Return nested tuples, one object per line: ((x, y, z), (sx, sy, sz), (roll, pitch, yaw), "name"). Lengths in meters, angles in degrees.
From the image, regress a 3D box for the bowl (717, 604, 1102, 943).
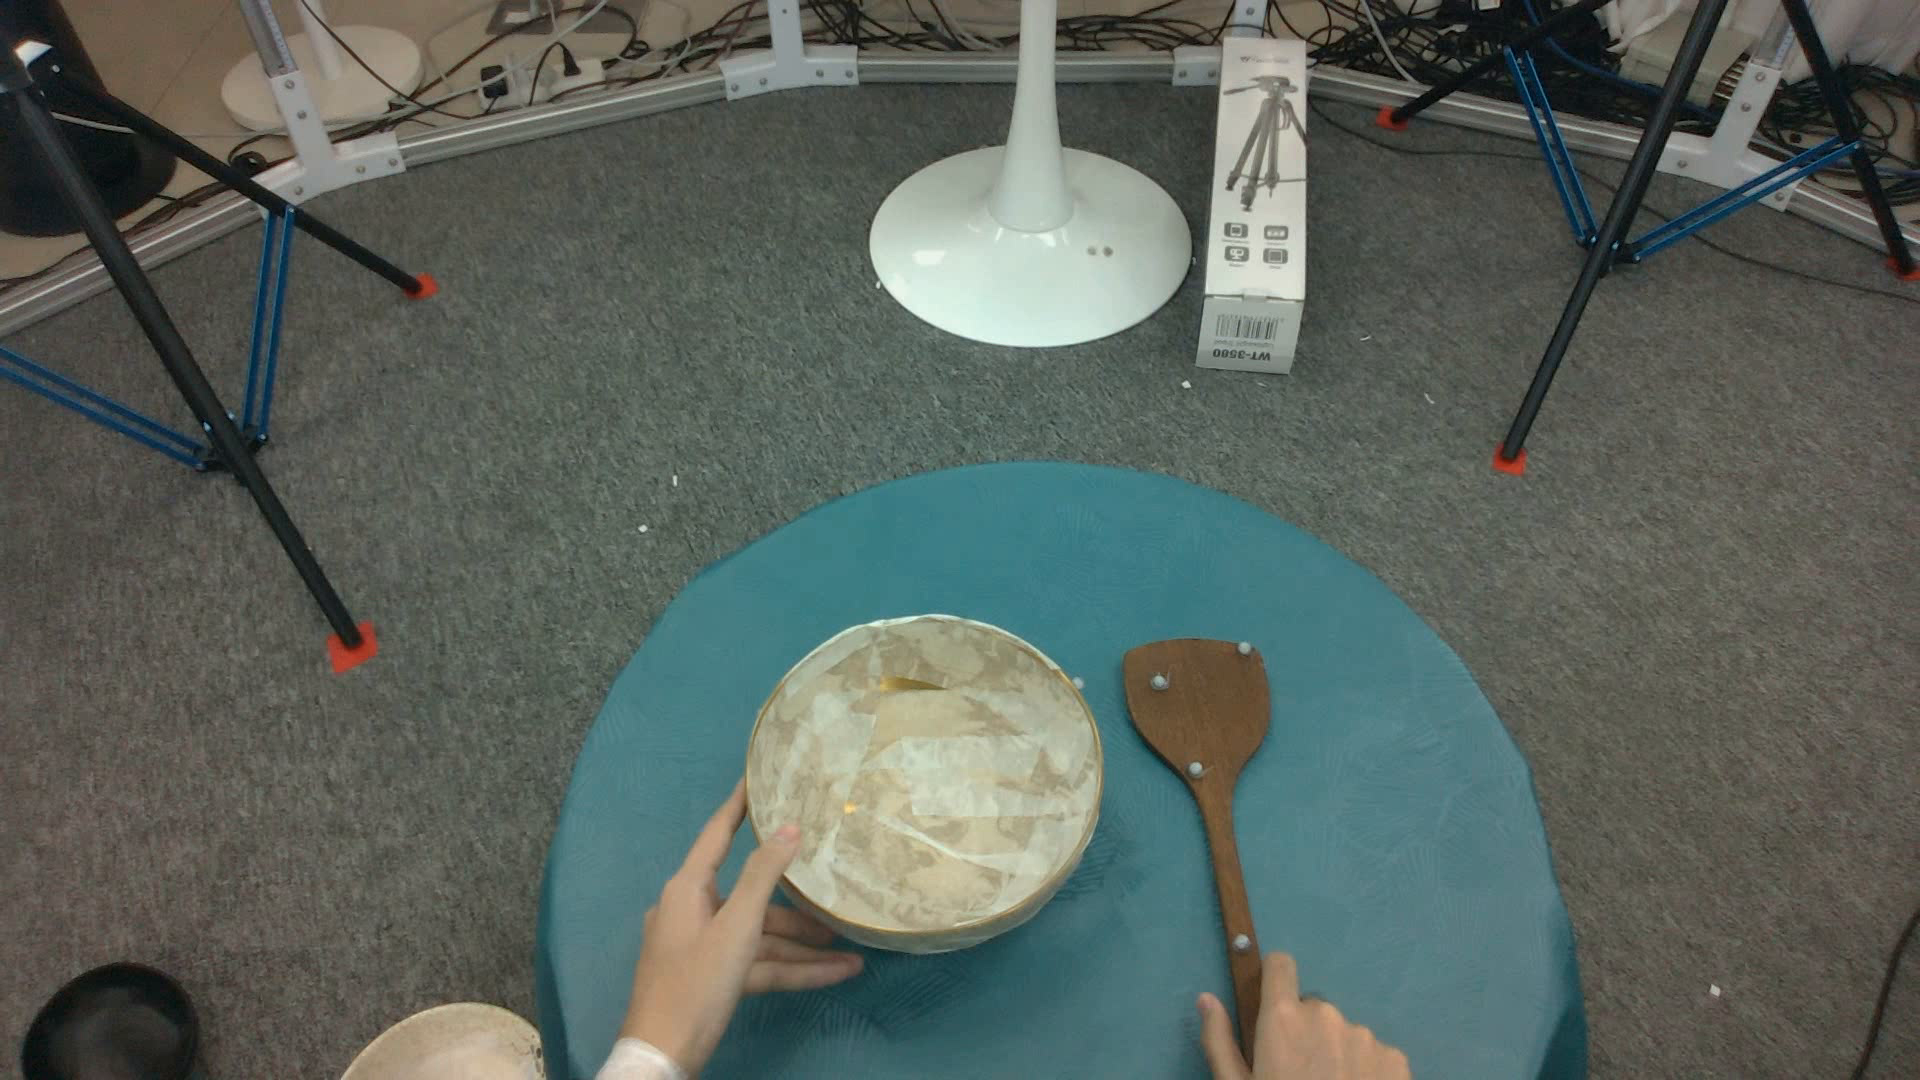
((-0.027, 0.147, 0.791), (0.215, 0.094, 0.215), (1, 51, -2), "bowl")

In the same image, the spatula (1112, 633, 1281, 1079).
((0.153, 0.209, 0.788), (0.096, 0.016, 0.387), (-1, 49, -2), "spatula")
